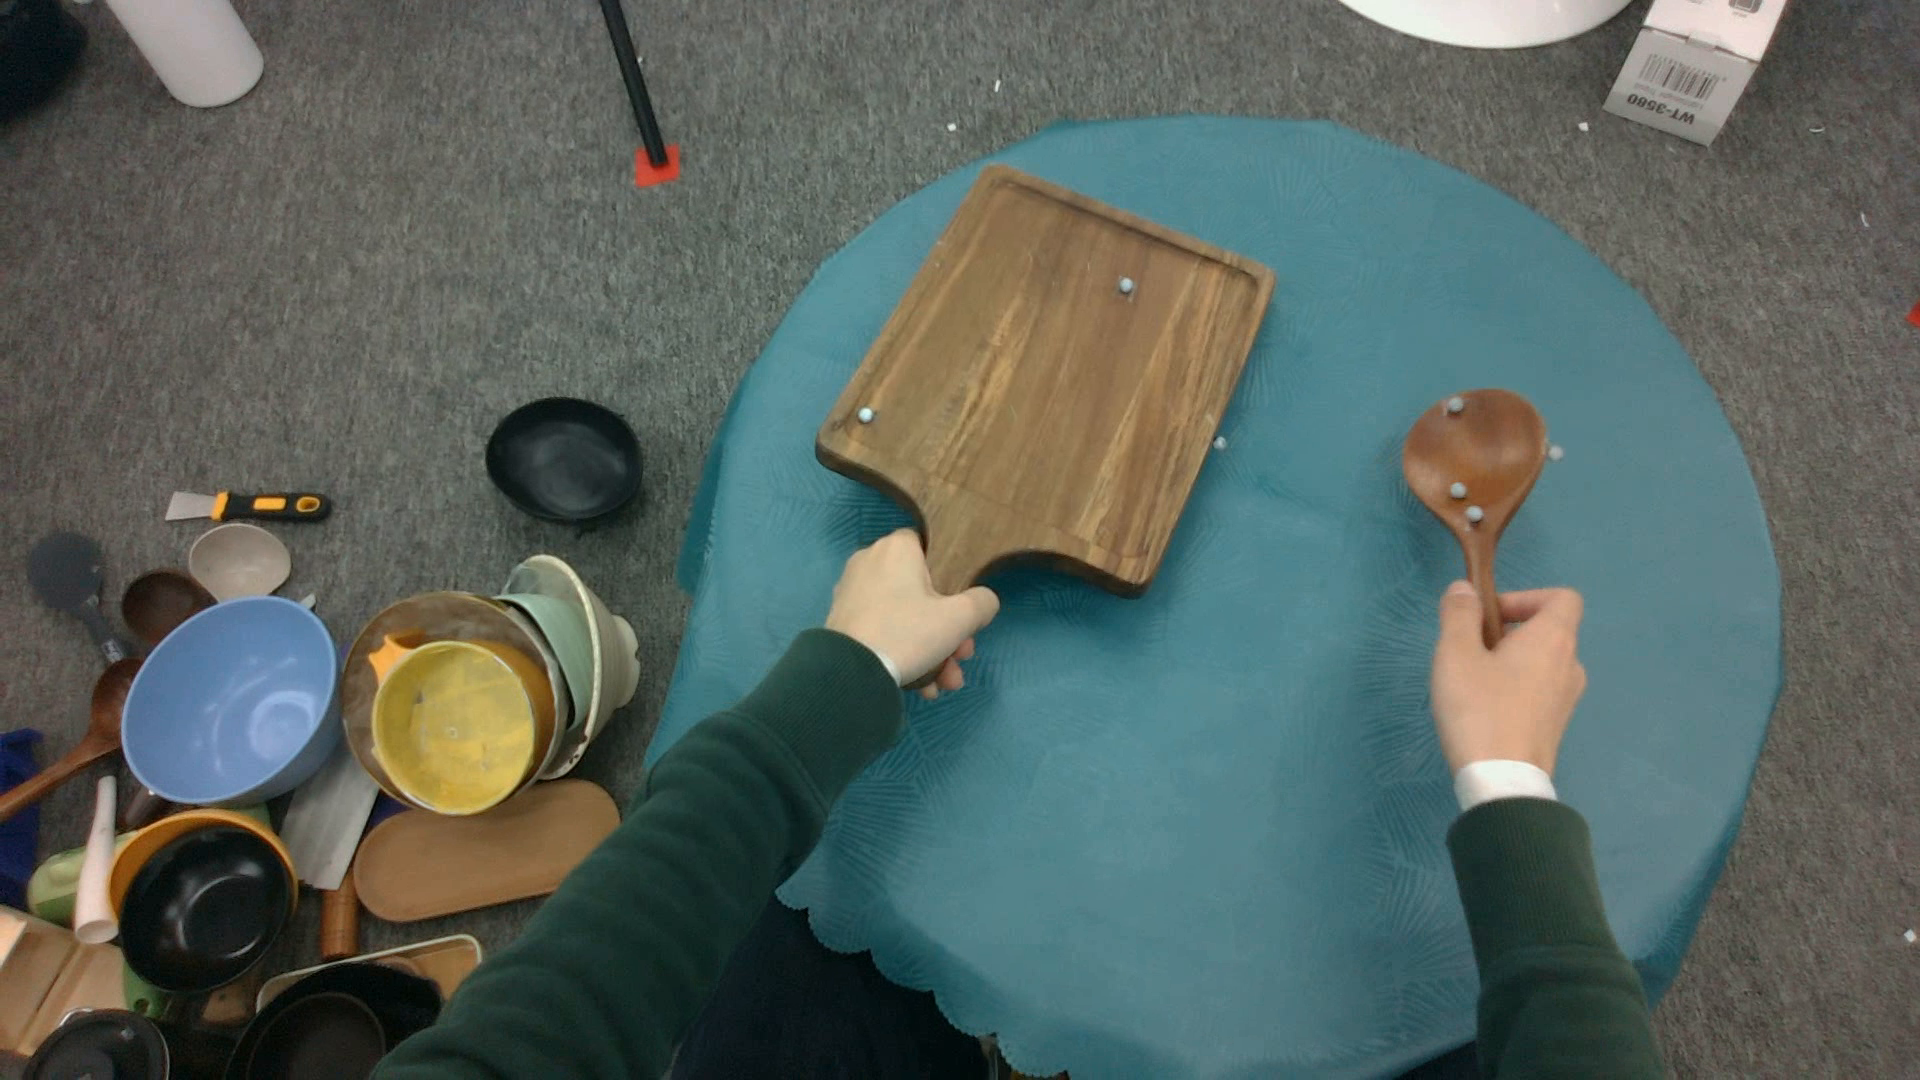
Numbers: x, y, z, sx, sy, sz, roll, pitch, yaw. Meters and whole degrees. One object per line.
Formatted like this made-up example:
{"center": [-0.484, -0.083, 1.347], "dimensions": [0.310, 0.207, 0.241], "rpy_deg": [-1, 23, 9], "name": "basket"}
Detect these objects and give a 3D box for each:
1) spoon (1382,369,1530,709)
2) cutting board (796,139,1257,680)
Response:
{"center": [0.255, -0.007, 0.702], "dimensions": [0.075, 0.017, 0.217], "rpy_deg": [-6, 48, 24], "name": "spoon"}
{"center": [0.028, -0.074, 0.763], "dimensions": [0.201, 0.023, 0.354], "rpy_deg": [24, 59, 4], "name": "cutting board"}
